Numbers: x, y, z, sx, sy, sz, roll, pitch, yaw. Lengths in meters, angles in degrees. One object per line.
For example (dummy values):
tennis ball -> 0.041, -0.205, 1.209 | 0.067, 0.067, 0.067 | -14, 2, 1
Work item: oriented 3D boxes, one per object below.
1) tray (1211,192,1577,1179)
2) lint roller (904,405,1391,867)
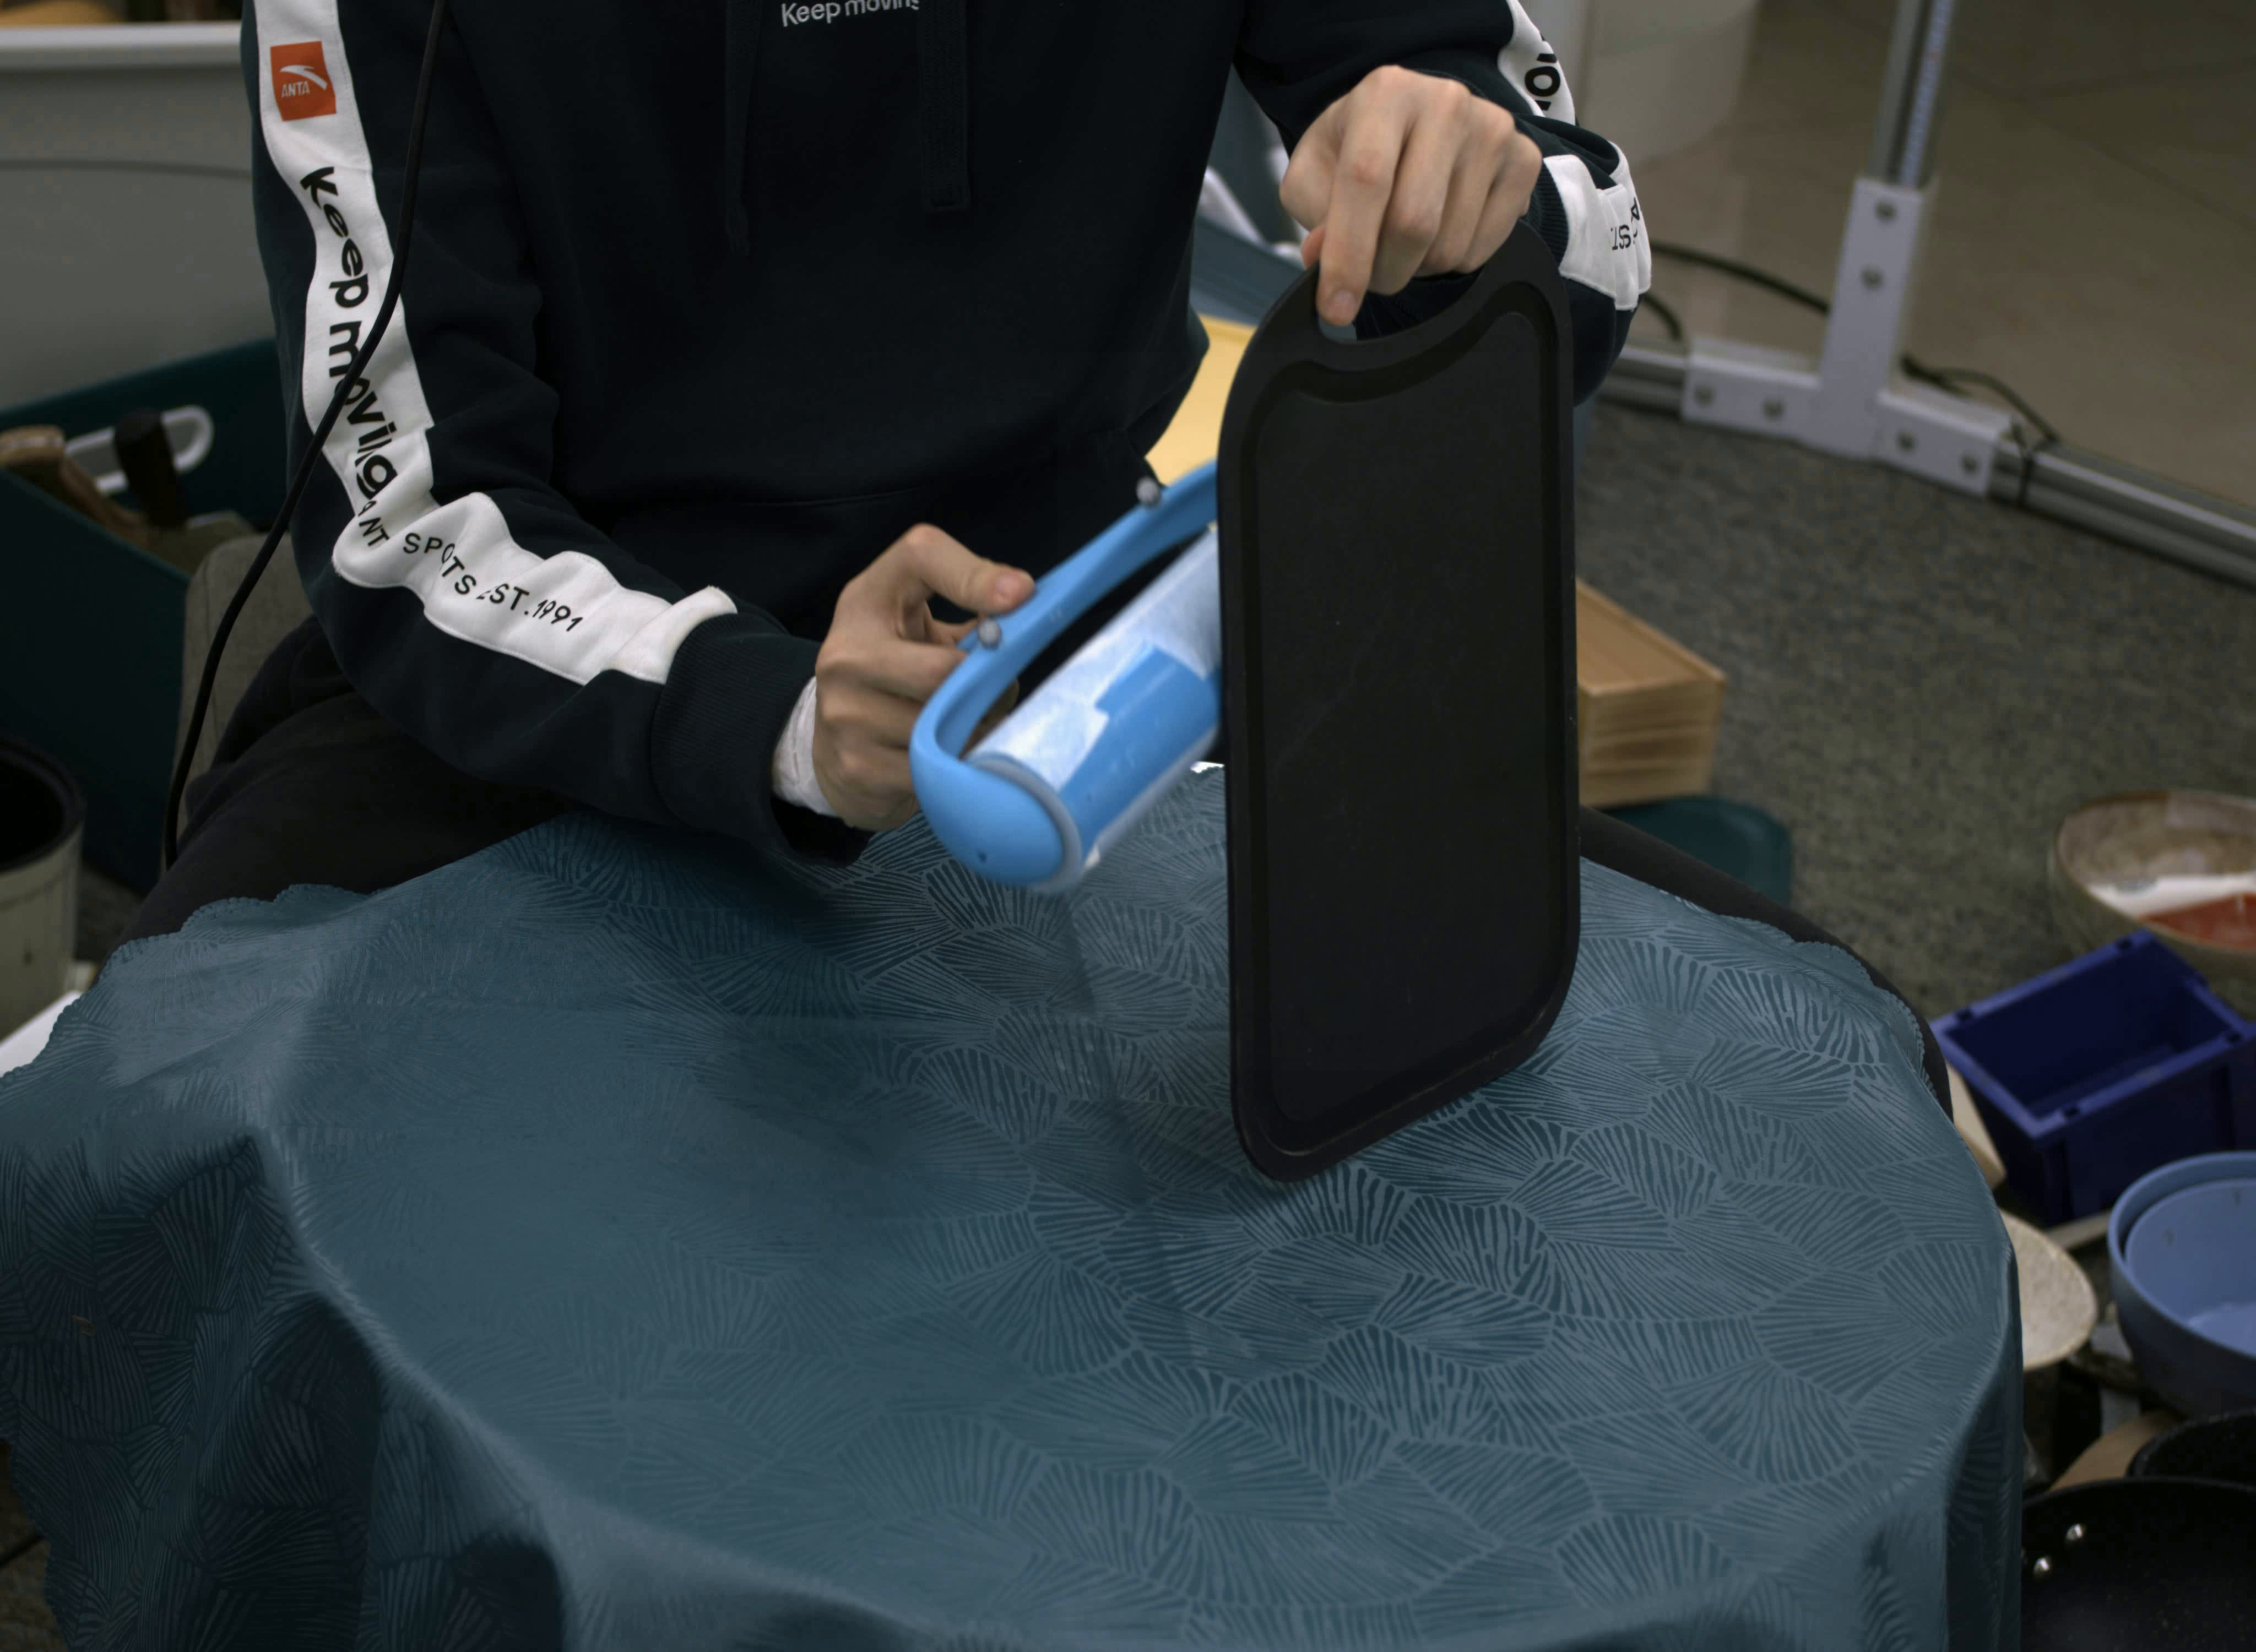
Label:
tray -> 0.095, -0.051, 1.806 | 0.010, 0.325, 0.210 | 11, 21, 36
lint roller -> -0.026, -0.056, 1.788 | 0.181, 0.067, 0.229 | -13, 28, 45
